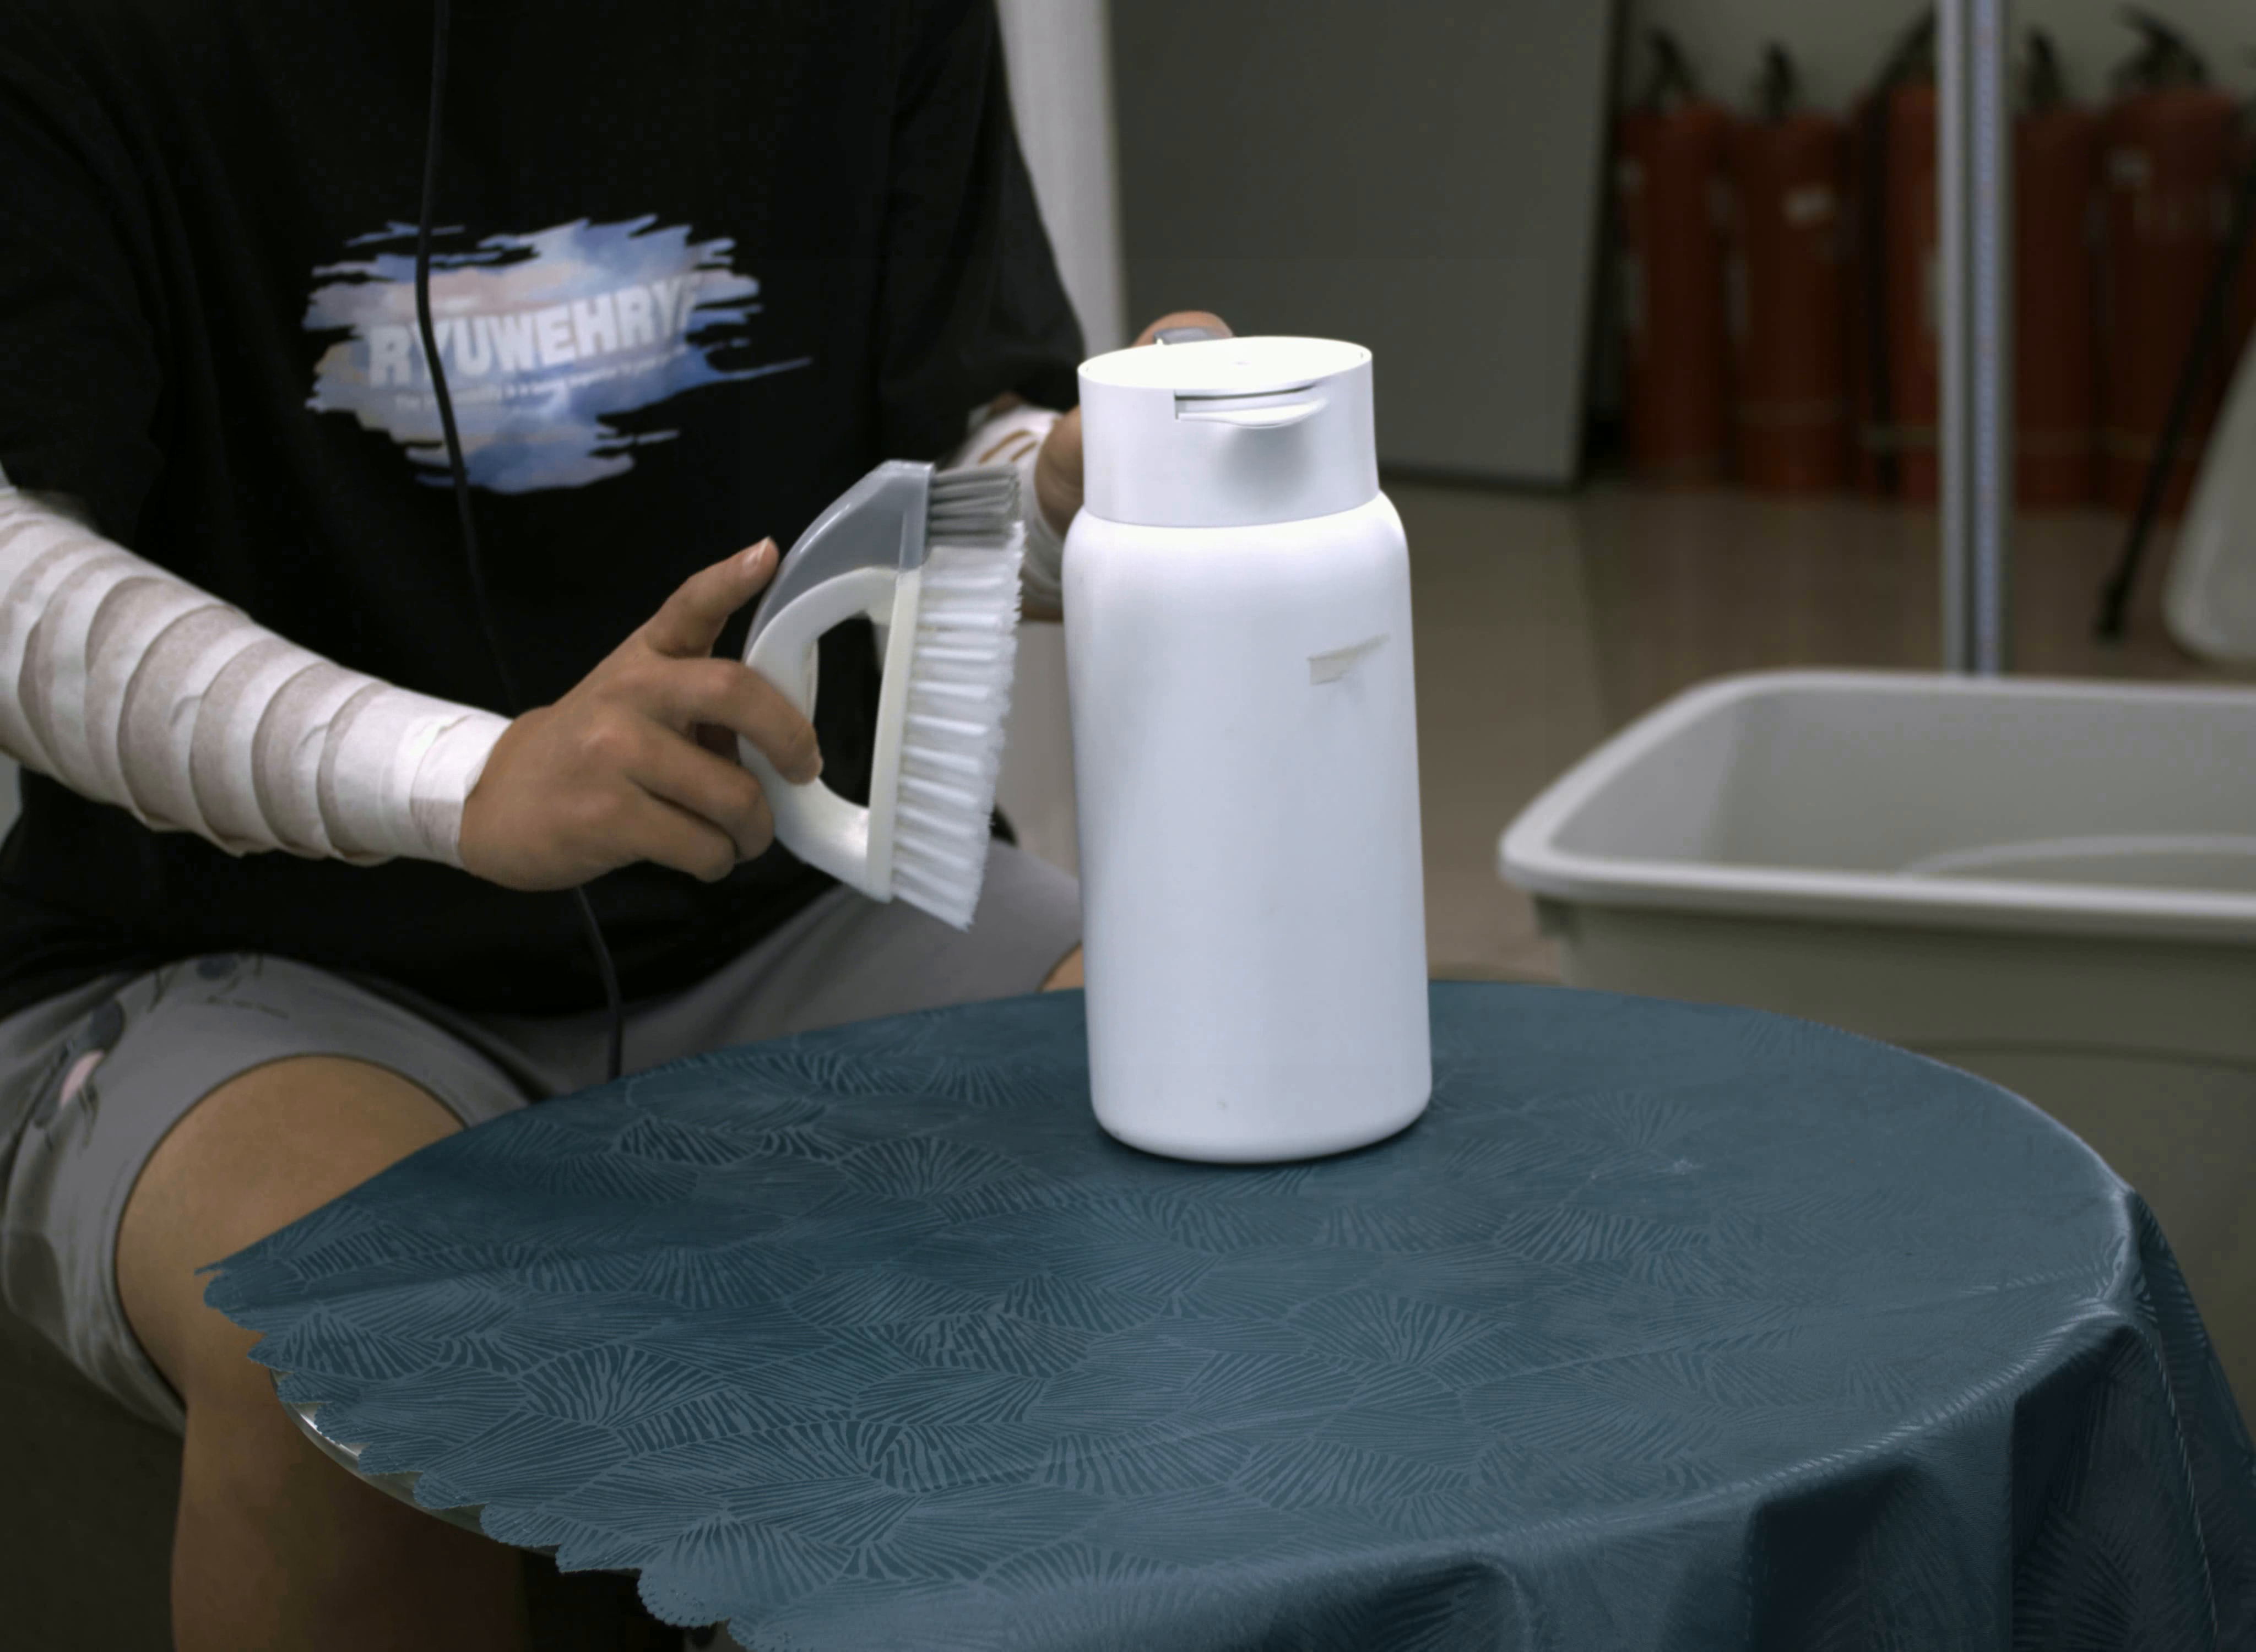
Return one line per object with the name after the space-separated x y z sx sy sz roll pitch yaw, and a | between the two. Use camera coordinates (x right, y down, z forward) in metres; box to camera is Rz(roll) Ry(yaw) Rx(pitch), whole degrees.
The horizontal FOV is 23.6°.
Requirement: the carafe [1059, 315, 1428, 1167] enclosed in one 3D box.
0.032 -0.032 1.825 0.121 0.272 0.174 -8 13 -12 | carafe

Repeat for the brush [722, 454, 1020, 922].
-0.085 -0.054 1.778 0.093 0.177 0.061 10 38 1 | brush
